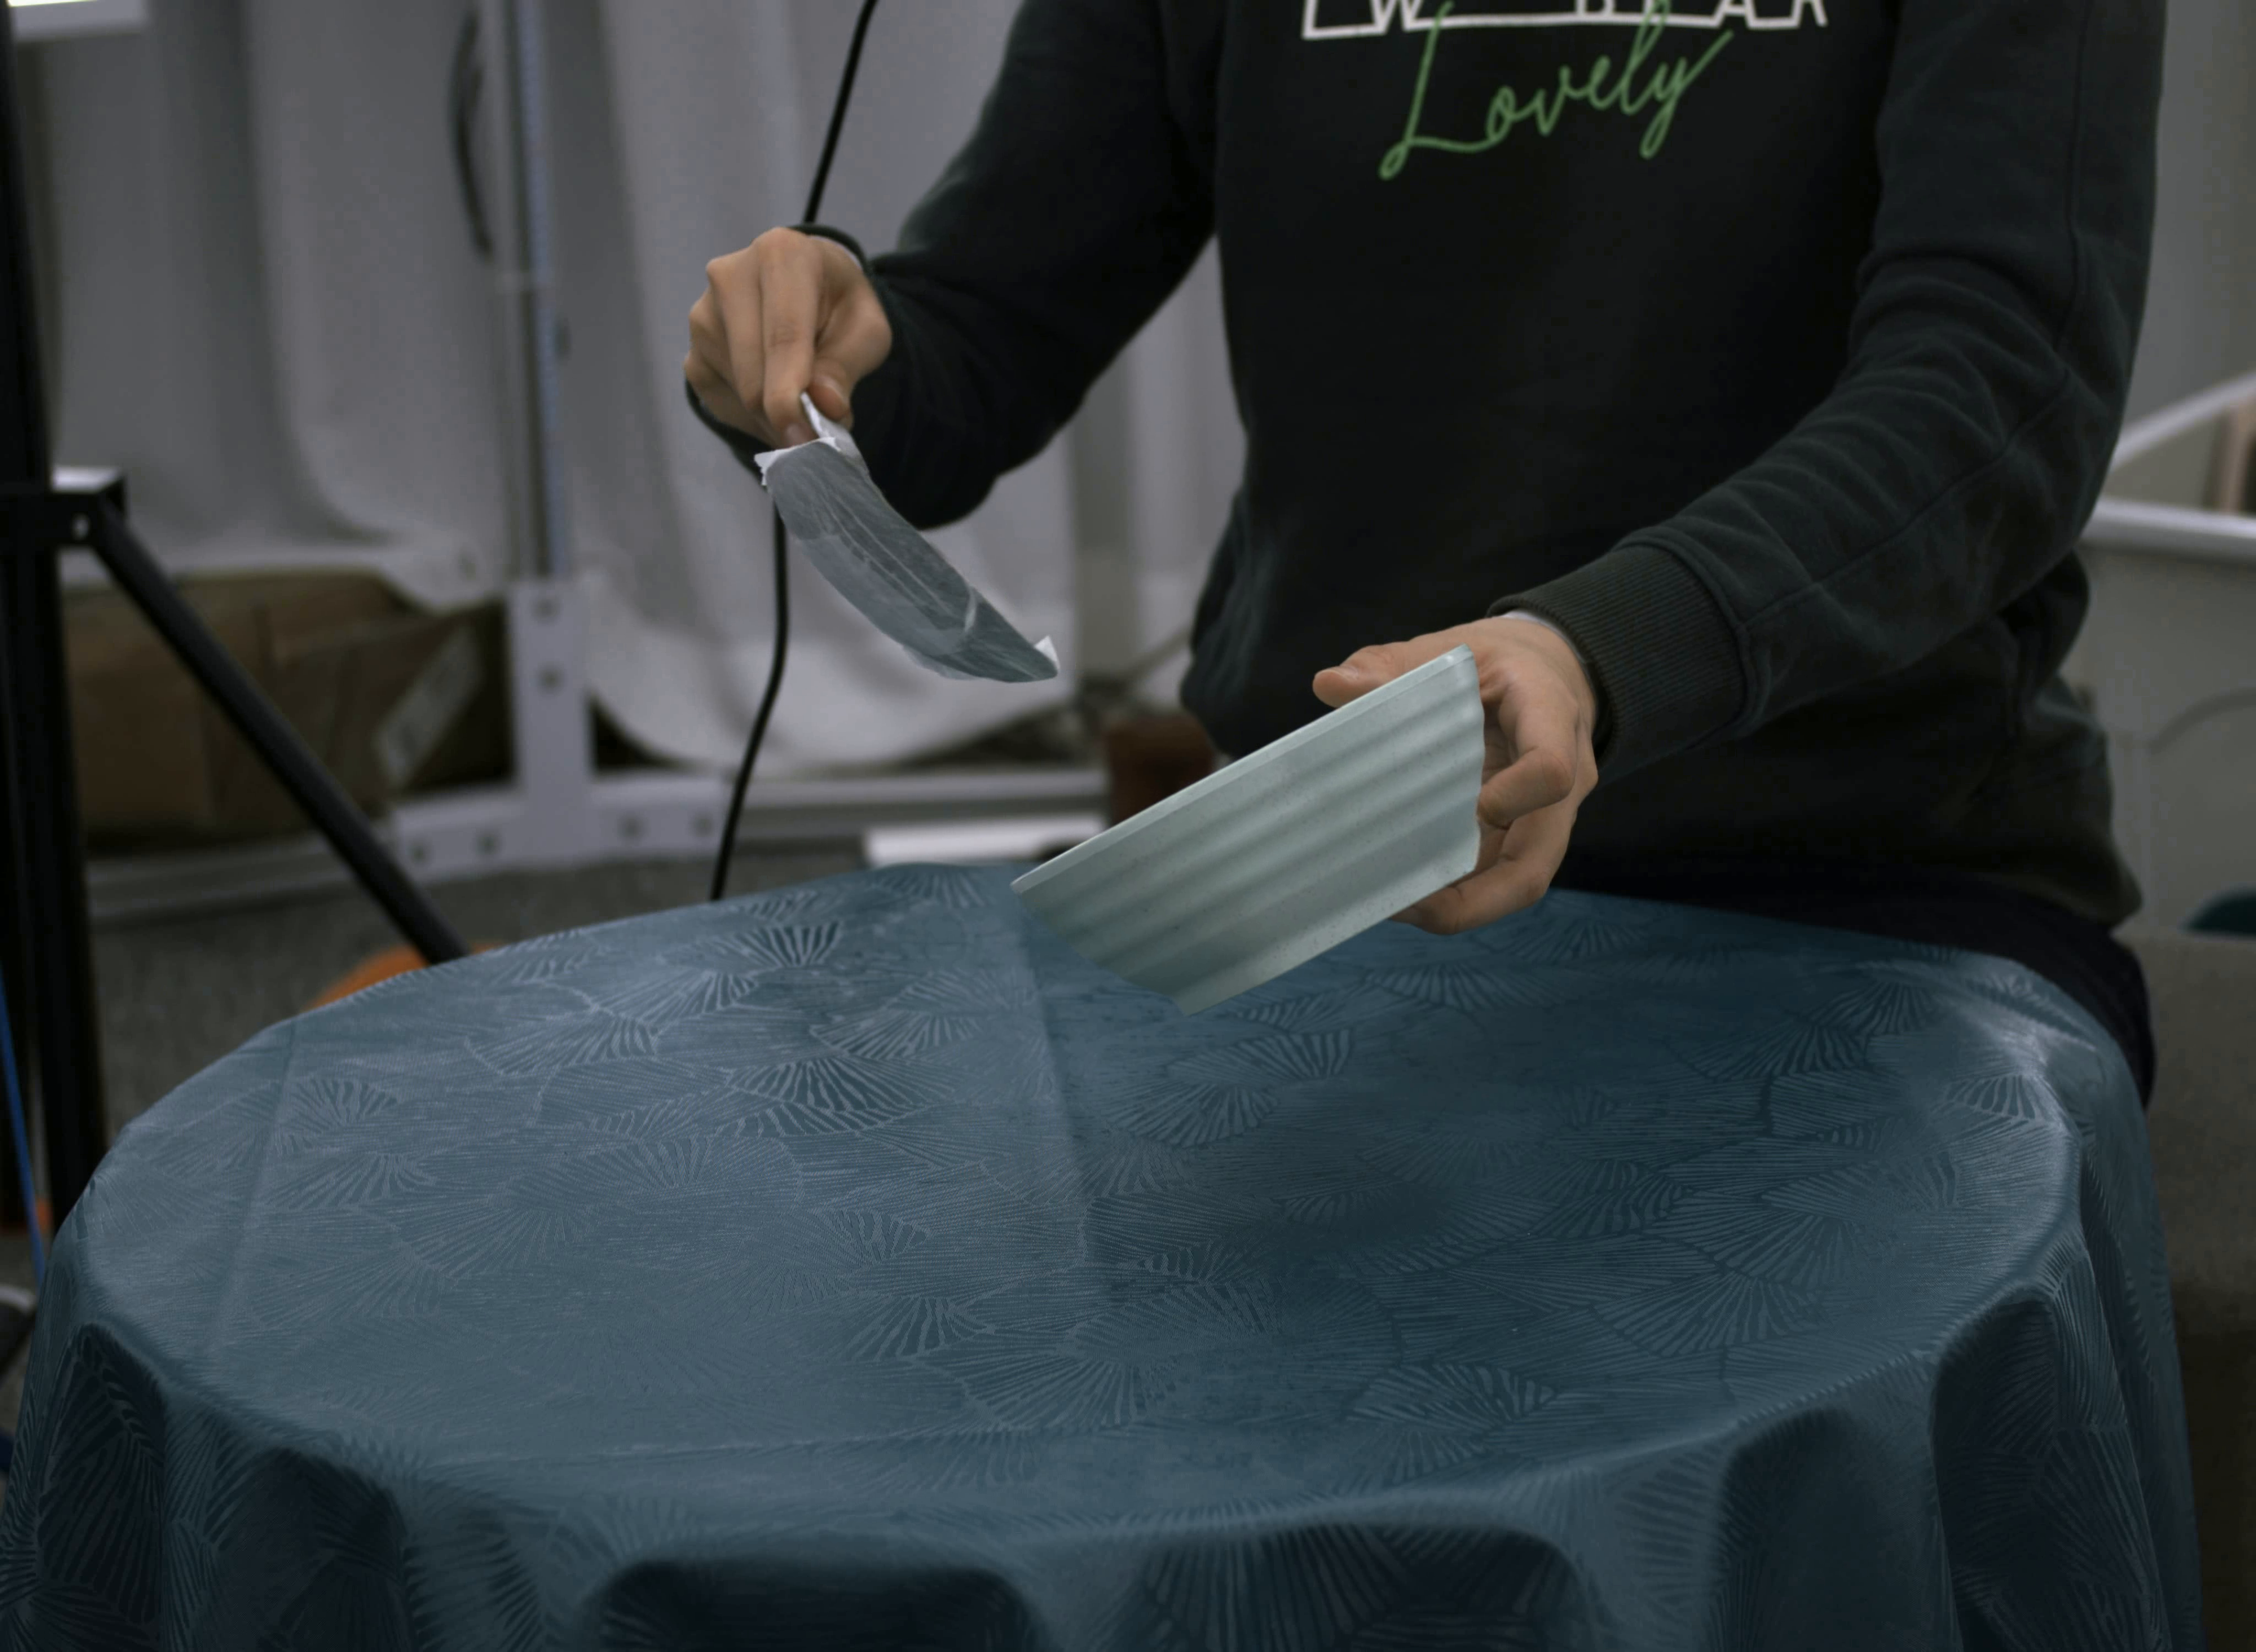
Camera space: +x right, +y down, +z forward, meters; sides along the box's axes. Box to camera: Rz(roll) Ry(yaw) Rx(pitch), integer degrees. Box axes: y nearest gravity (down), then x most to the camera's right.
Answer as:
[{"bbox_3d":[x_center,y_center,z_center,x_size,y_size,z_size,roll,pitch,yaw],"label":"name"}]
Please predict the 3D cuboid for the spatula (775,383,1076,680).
[{"bbox_3d":[-0.080,-0.109,1.646,0.045,0.097,0.368,-45,16,6],"label":"spatula"}]

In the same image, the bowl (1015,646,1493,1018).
[{"bbox_3d":[0.045,0.009,1.491,0.151,0.059,0.151,-28,2,-1],"label":"bowl"}]
